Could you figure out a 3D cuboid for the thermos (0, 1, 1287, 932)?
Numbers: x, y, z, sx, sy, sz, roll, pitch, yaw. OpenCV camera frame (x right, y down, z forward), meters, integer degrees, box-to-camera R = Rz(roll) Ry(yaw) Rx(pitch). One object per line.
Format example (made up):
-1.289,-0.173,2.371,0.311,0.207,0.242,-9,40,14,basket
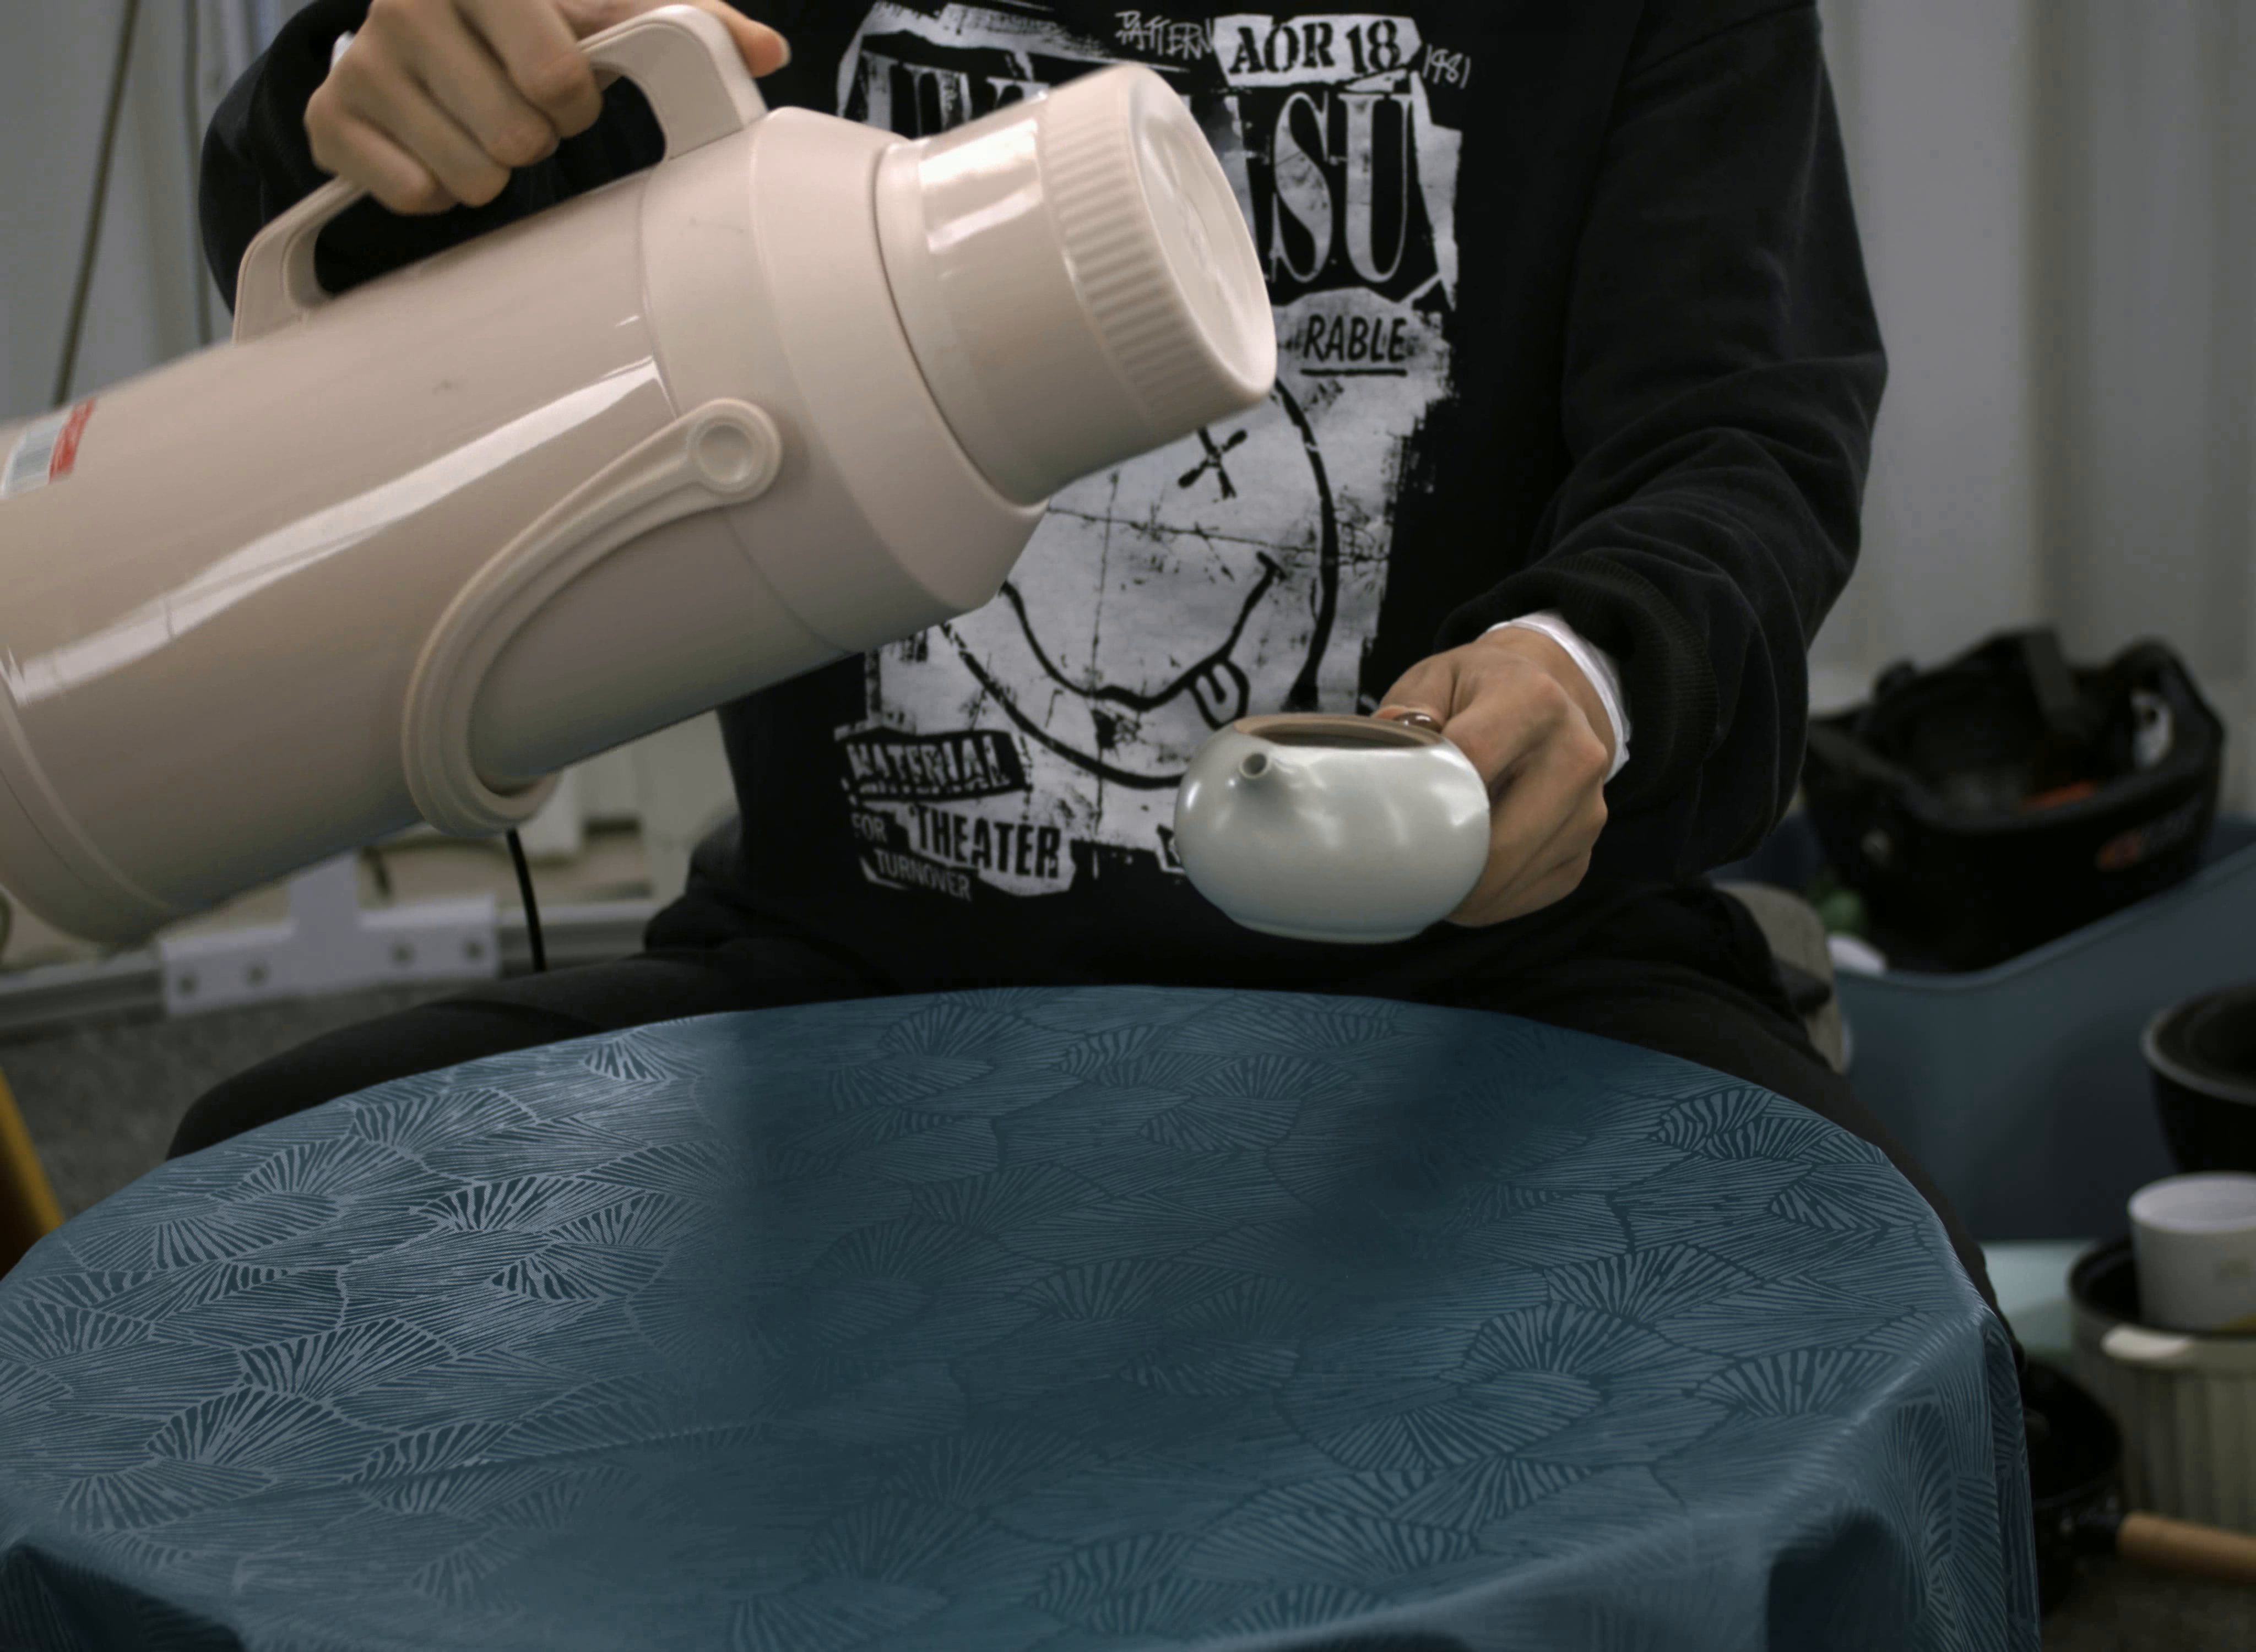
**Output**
-0.161,-0.117,1.617,0.405,0.206,0.176,-19,11,19,thermos

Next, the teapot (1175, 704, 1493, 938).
0.064,-0.003,1.583,0.092,0.059,0.128,5,10,27,teapot
